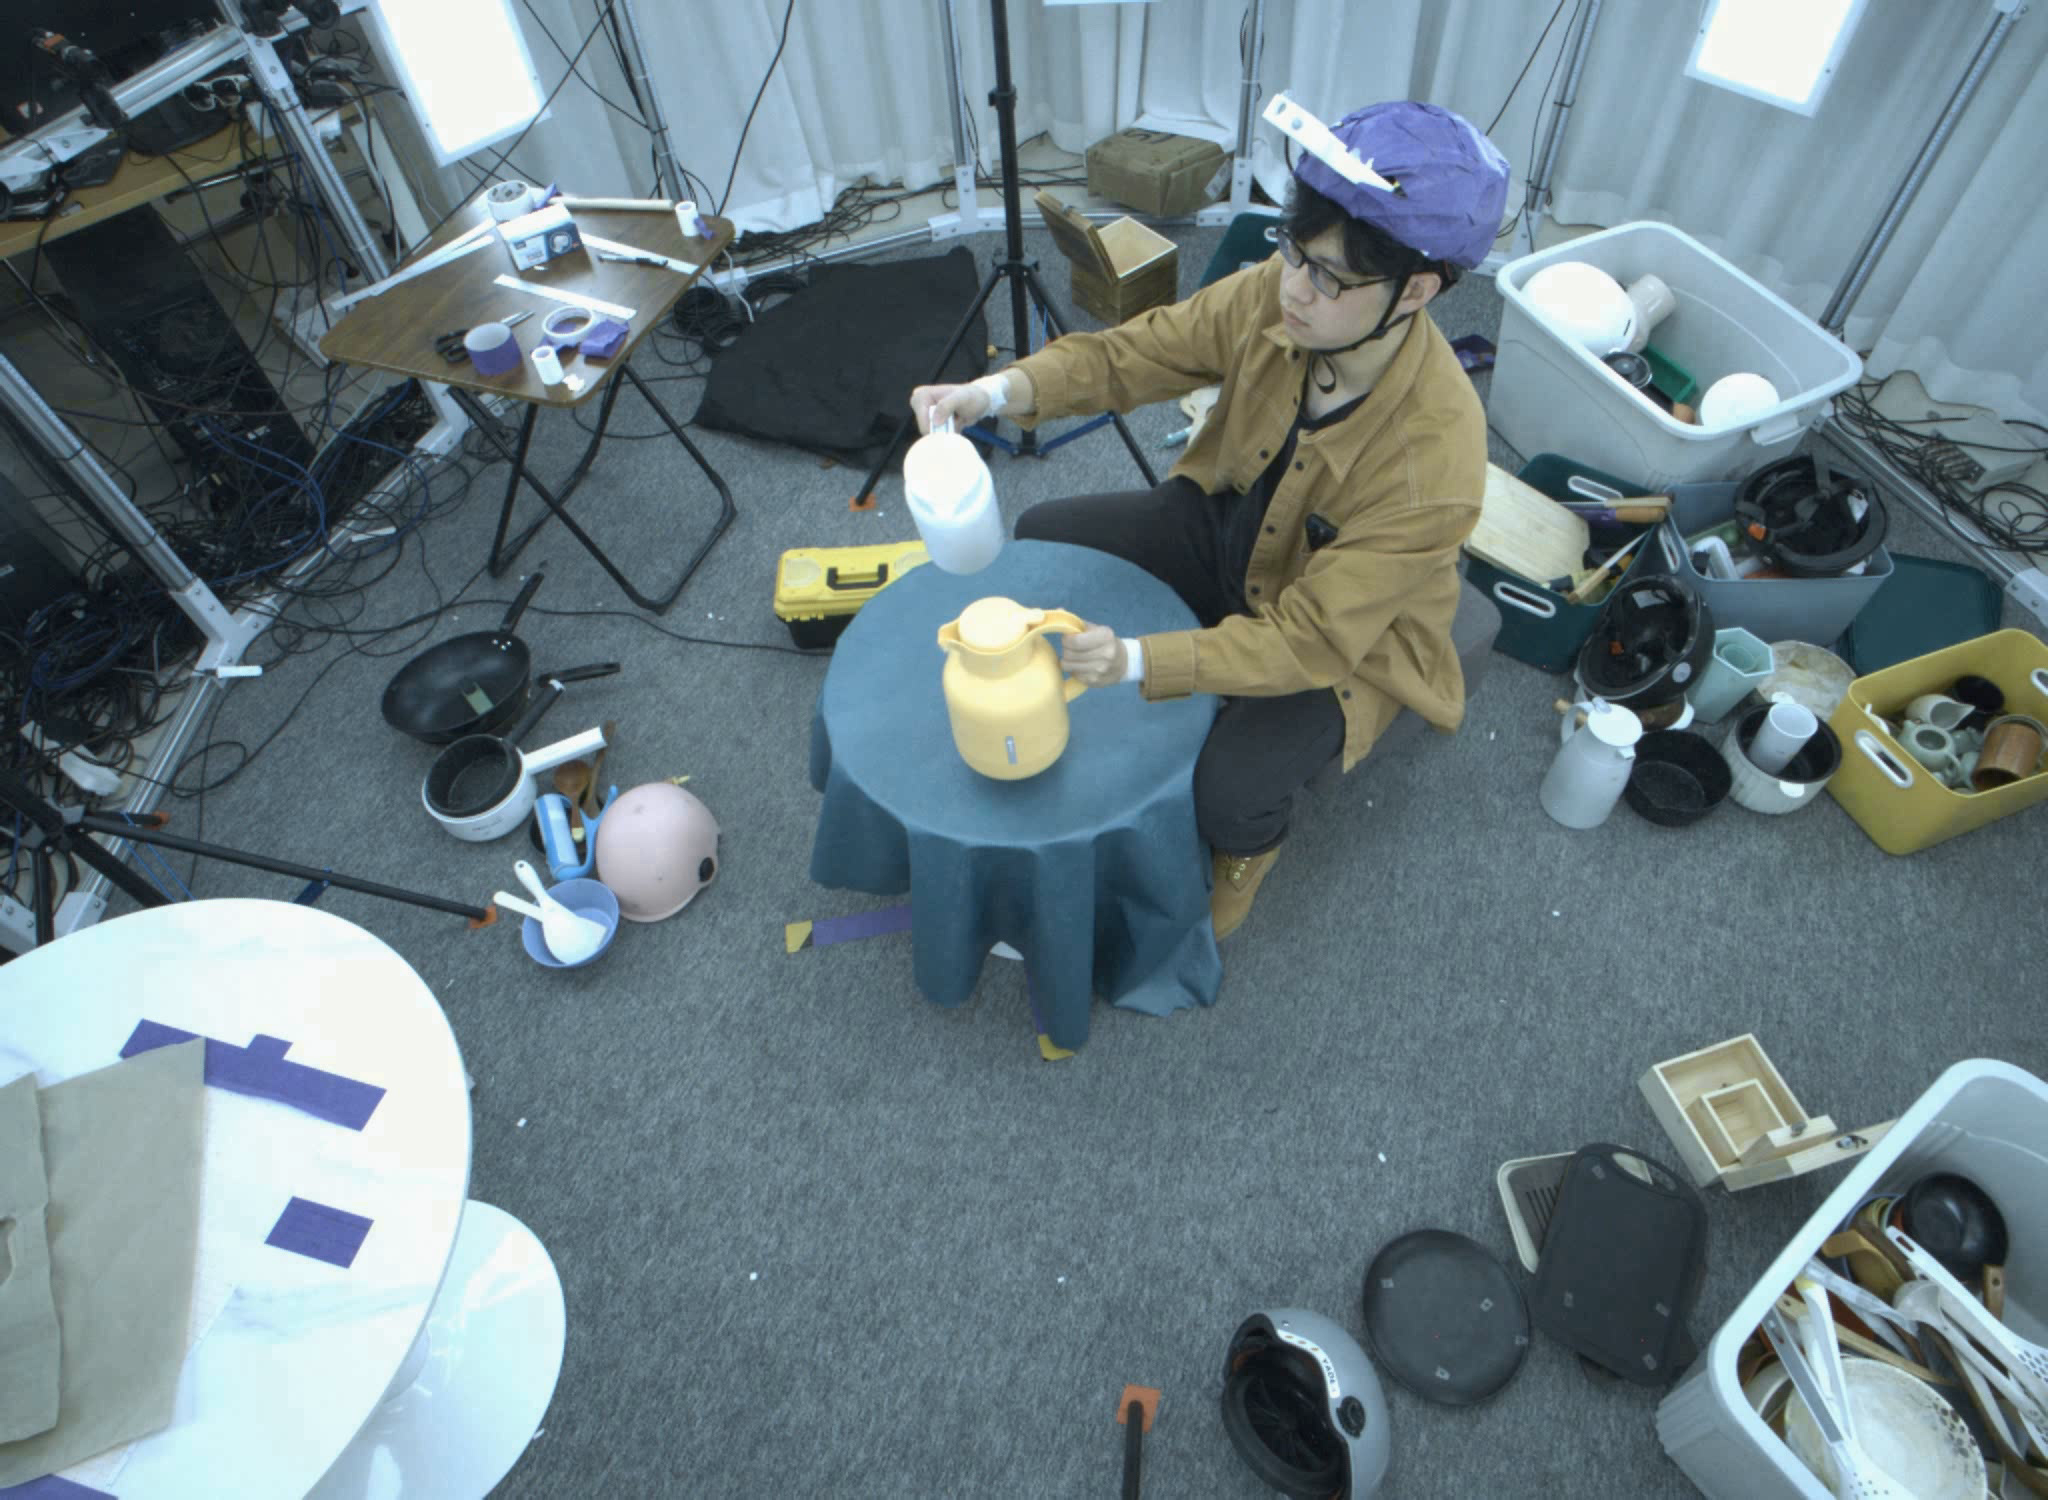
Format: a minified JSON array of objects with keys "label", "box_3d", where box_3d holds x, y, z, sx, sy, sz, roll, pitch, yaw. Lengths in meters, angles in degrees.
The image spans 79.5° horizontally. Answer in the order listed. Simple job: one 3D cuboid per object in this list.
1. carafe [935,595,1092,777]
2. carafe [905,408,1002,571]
[{"label":"carafe","box_3d":[-0.008,-0.092,1.641,0.202,0.264,0.161,-8,55,4]},{"label":"carafe","box_3d":[-0.101,-0.355,1.672,0.123,0.270,0.172,-6,81,4]}]
